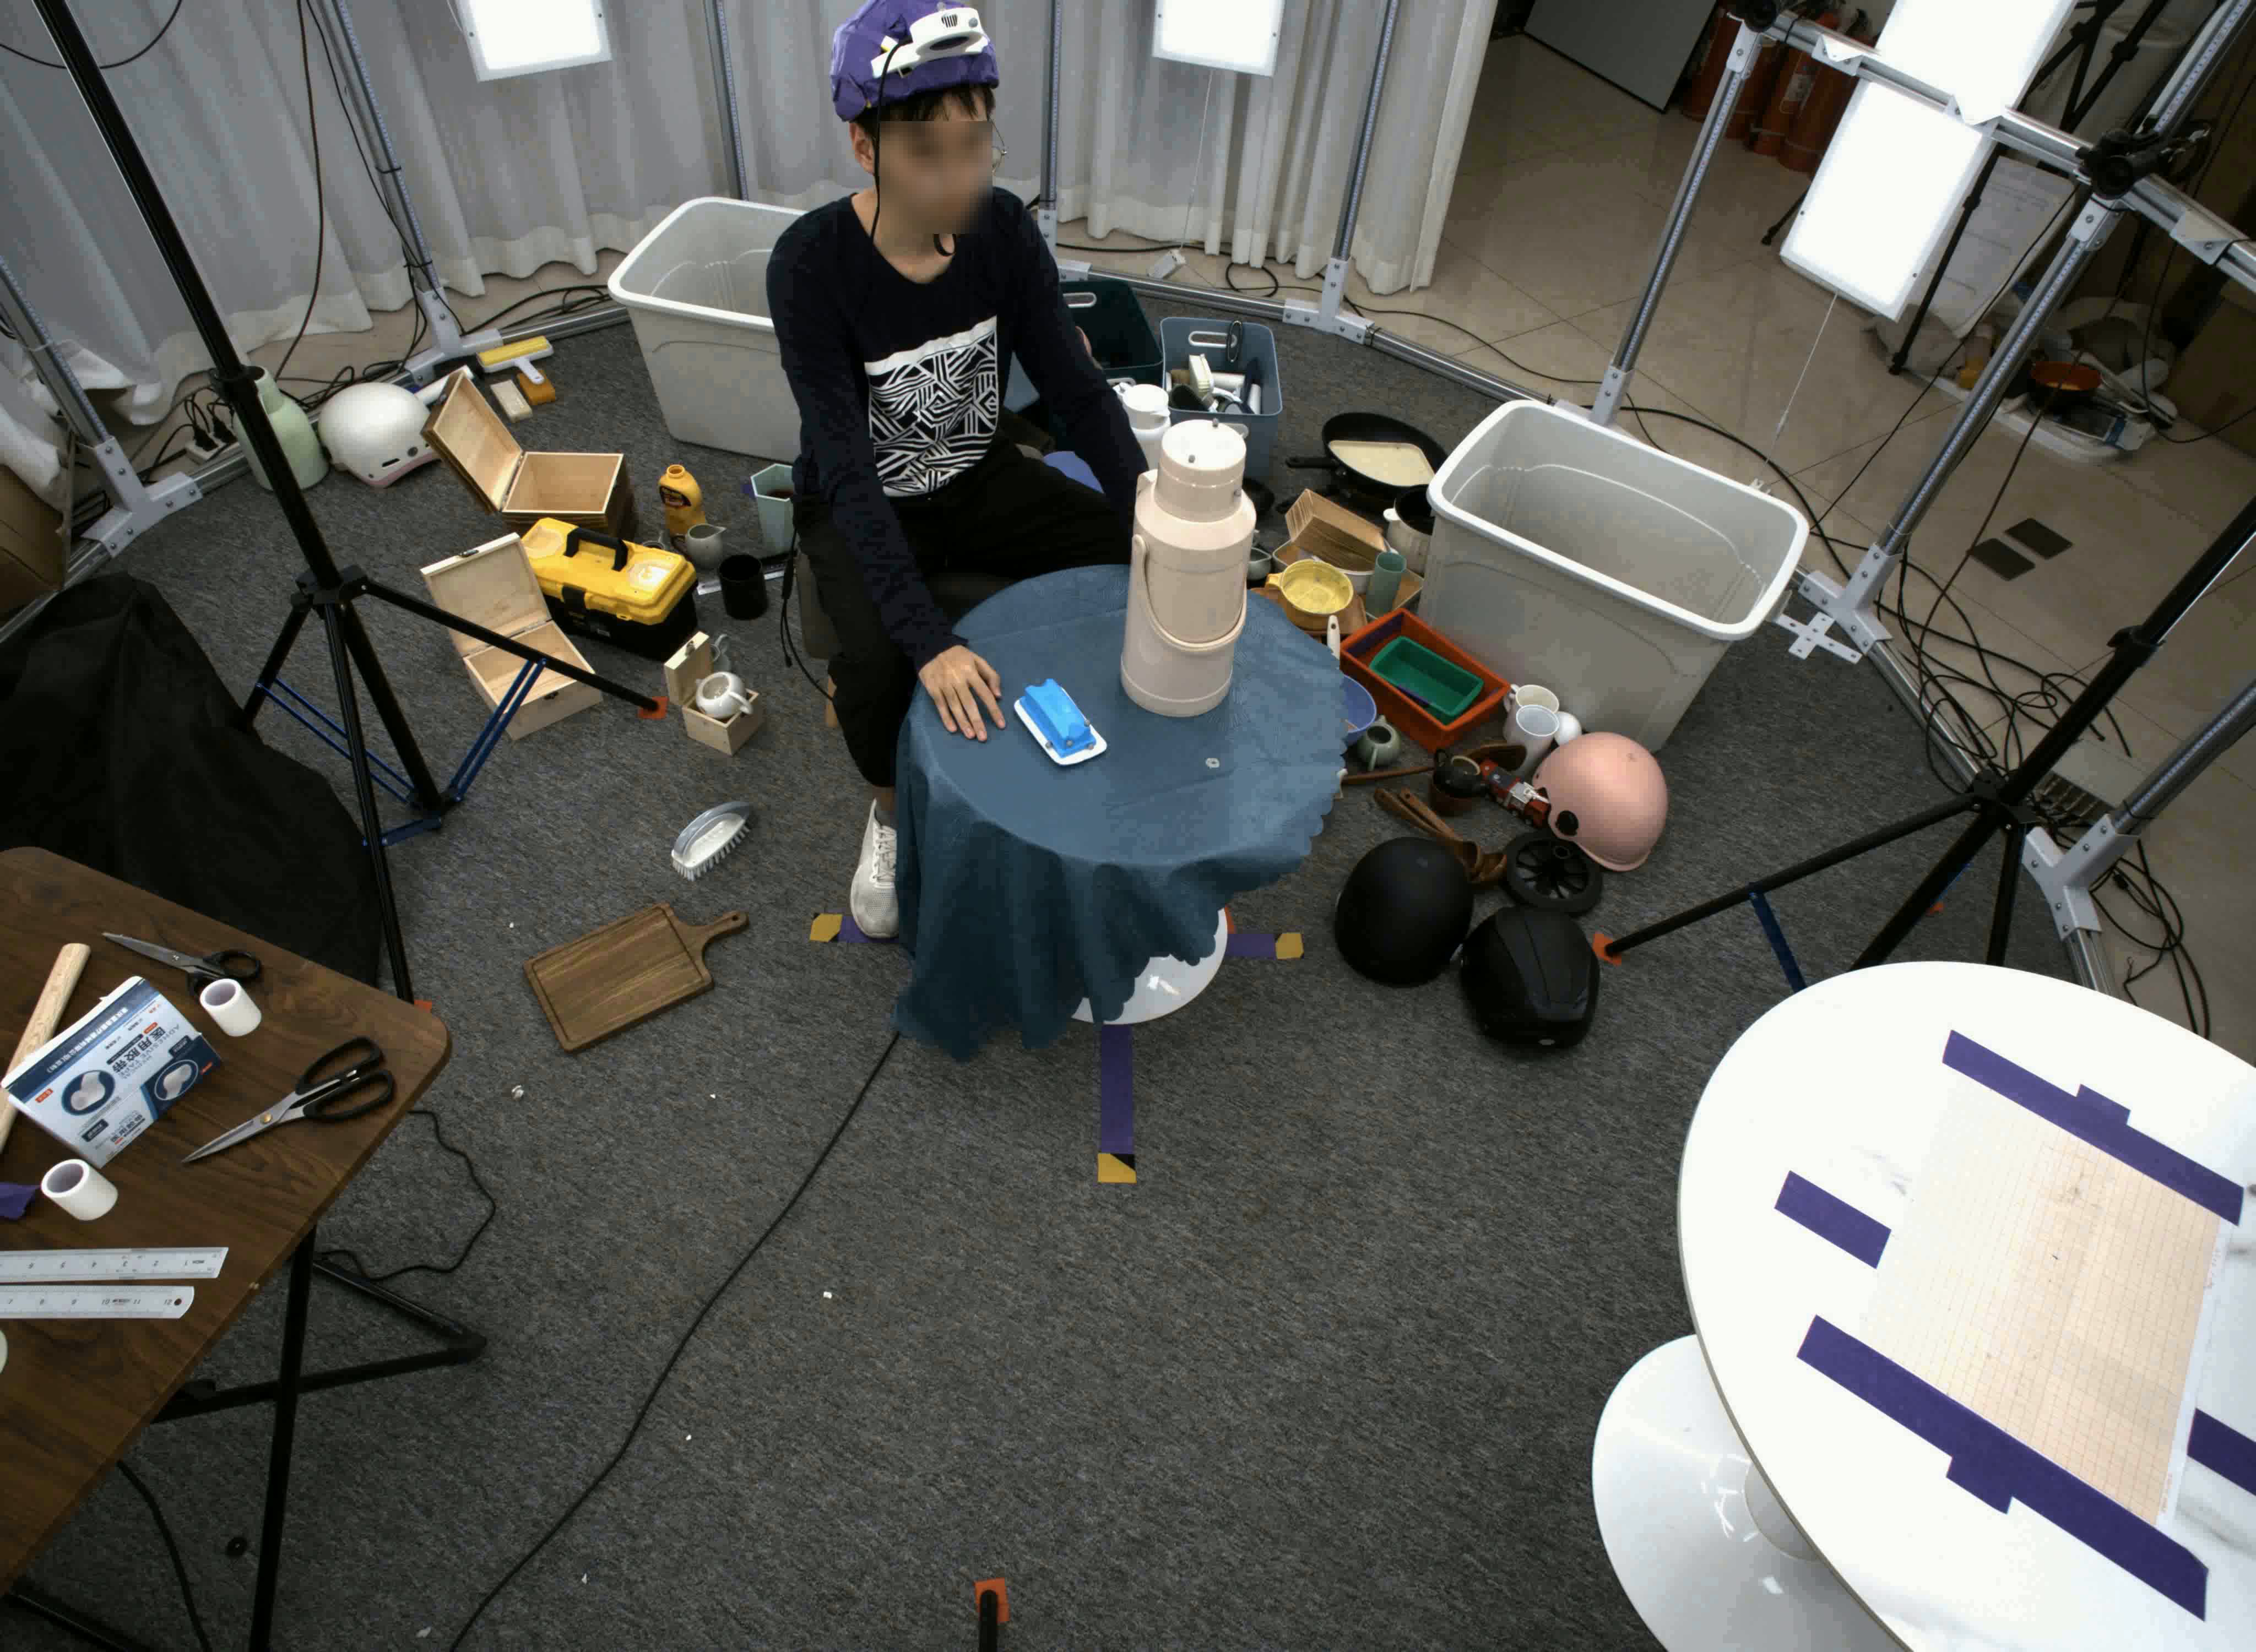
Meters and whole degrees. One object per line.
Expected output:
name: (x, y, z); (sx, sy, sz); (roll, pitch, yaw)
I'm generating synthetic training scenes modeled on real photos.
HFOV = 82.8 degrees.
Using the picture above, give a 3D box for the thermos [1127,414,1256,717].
thermos: (0.076, -0.351, 1.722); (0.176, 0.396, 0.211); (-25, 54, -22)

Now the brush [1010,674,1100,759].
brush: (-0.098, -0.157, 1.757); (0.084, 0.054, 0.147); (-19, 55, -23)
